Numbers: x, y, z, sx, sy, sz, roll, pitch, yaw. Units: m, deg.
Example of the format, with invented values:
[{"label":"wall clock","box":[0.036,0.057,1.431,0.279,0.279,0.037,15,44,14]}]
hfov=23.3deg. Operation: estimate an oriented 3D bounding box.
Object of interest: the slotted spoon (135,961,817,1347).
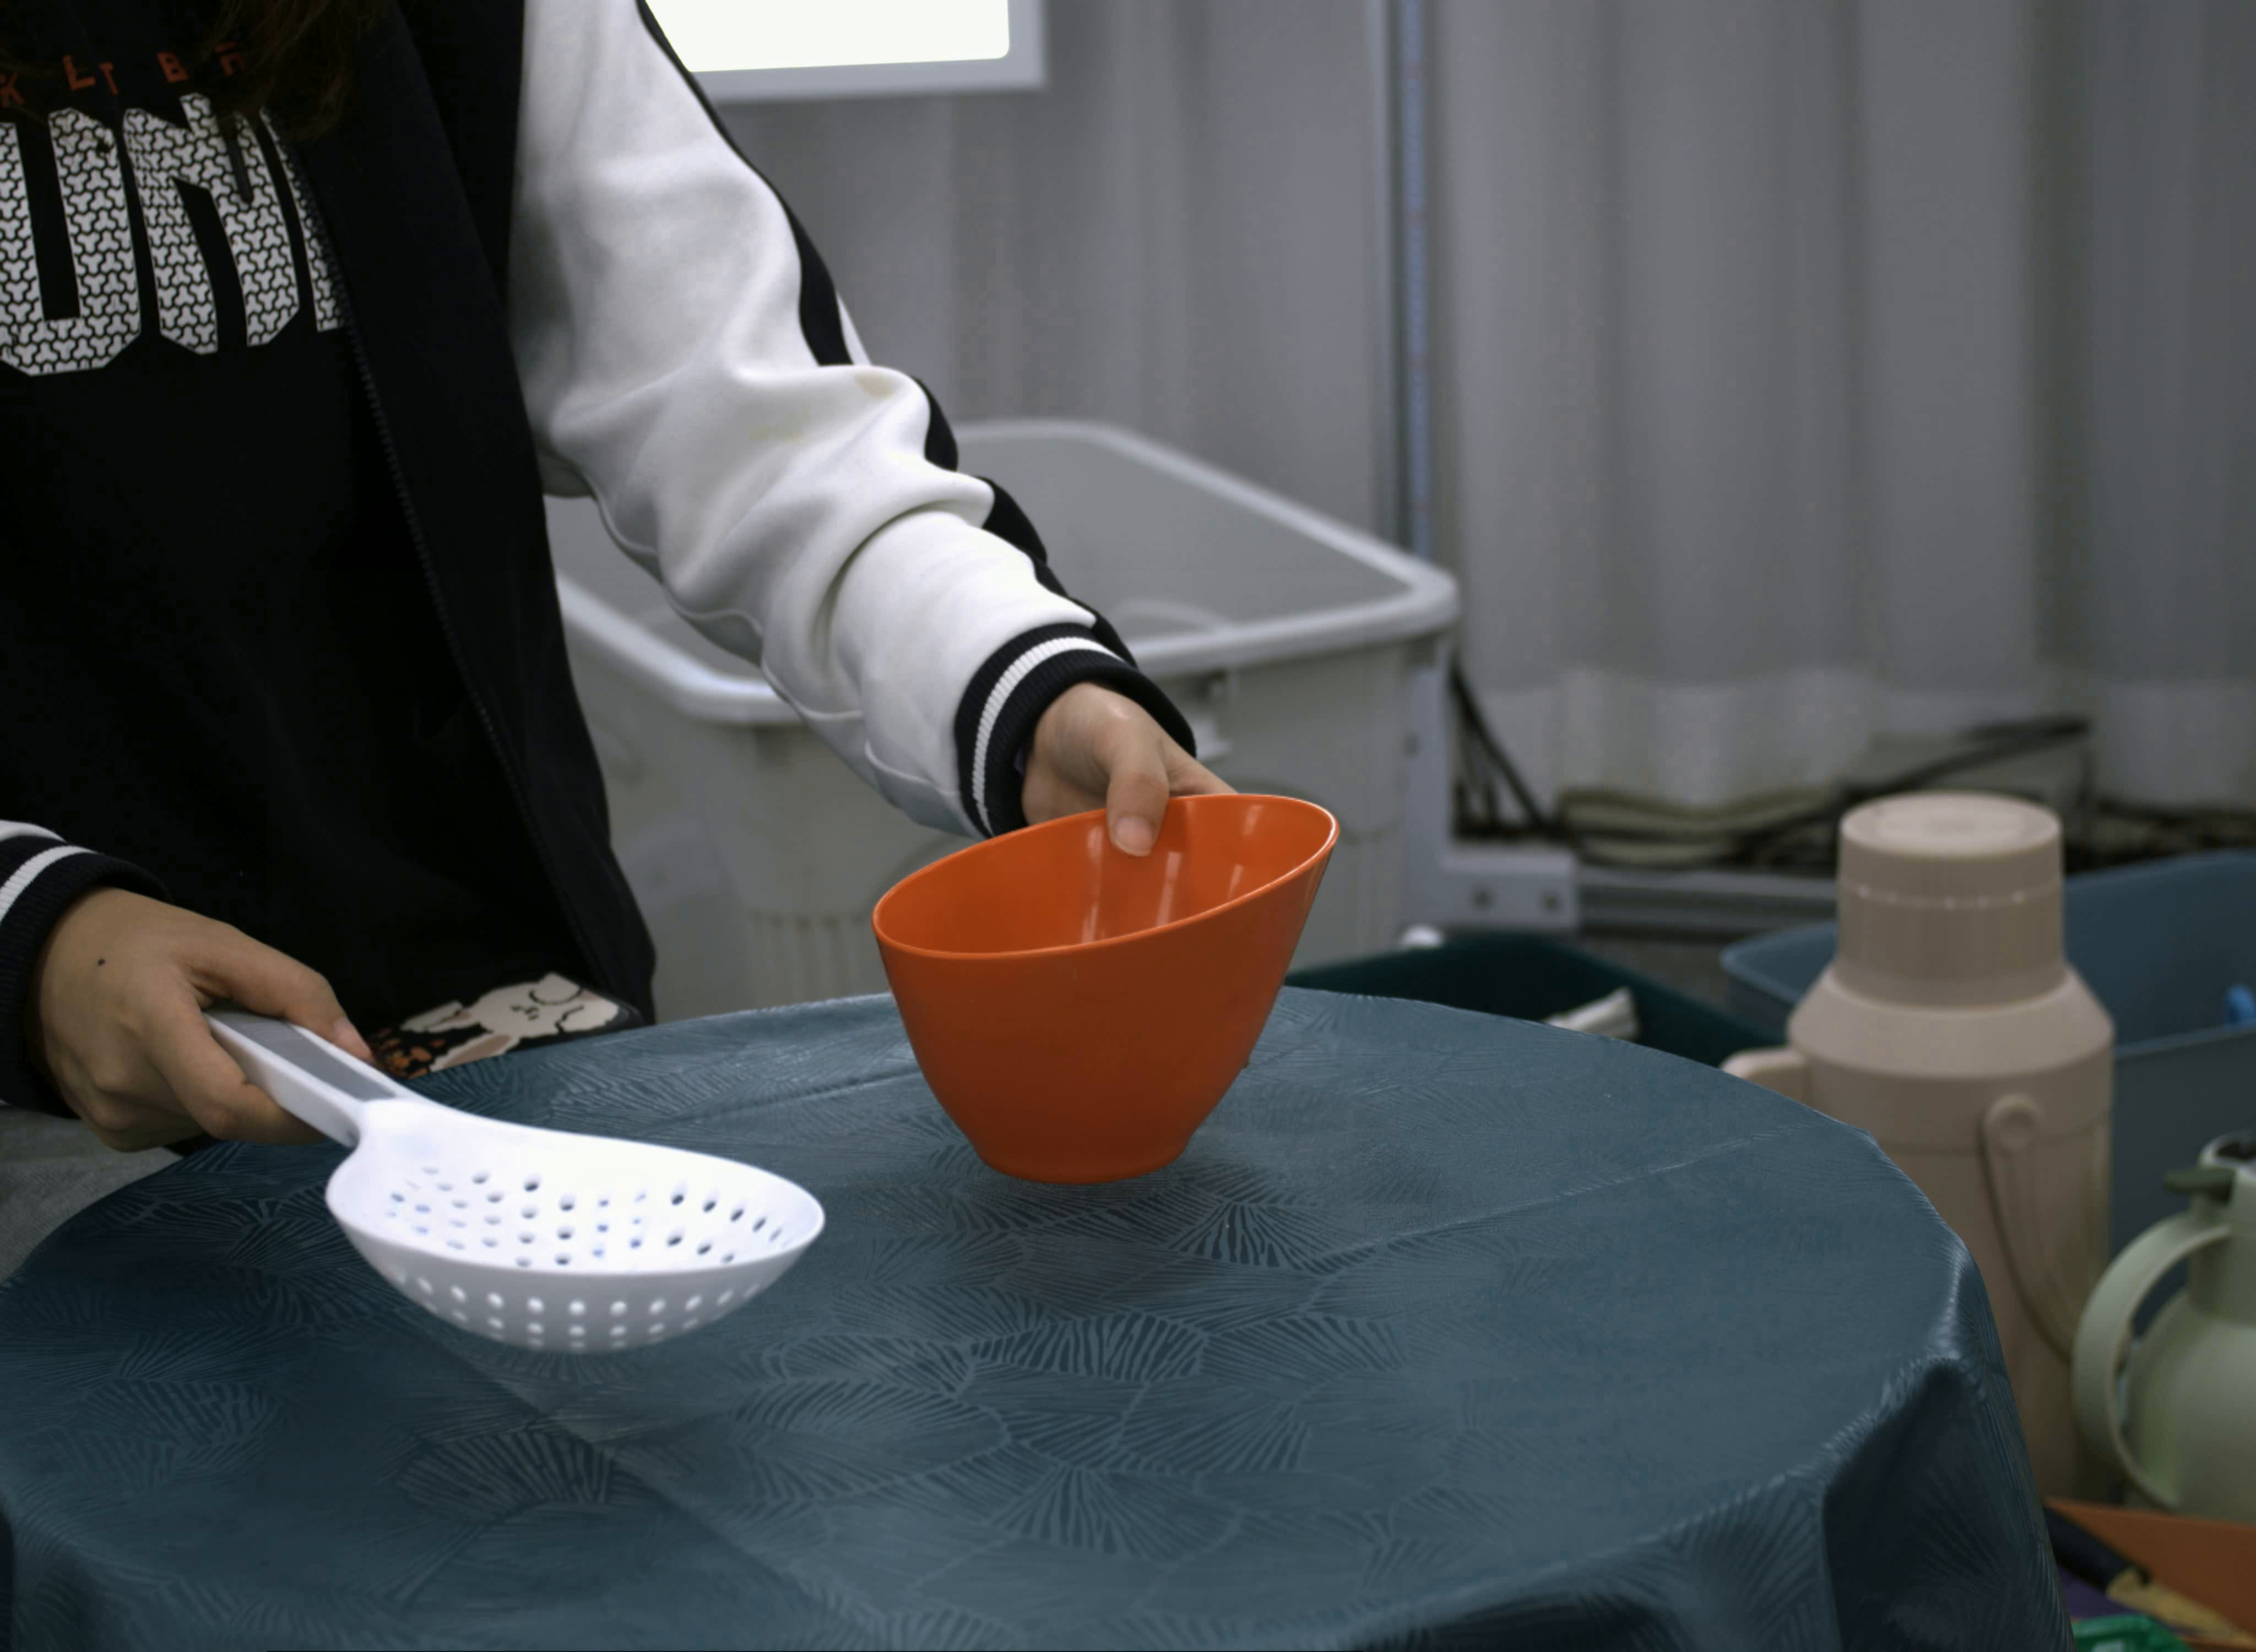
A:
[{"label":"slotted spoon","box":[-0.211,0.086,1.586,0.135,0.045,0.353,-2,18,-32]}]

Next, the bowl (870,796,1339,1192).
[{"label":"bowl","box":[-0.006,0.055,1.703,0.147,0.104,0.149,-3,18,1]}]
